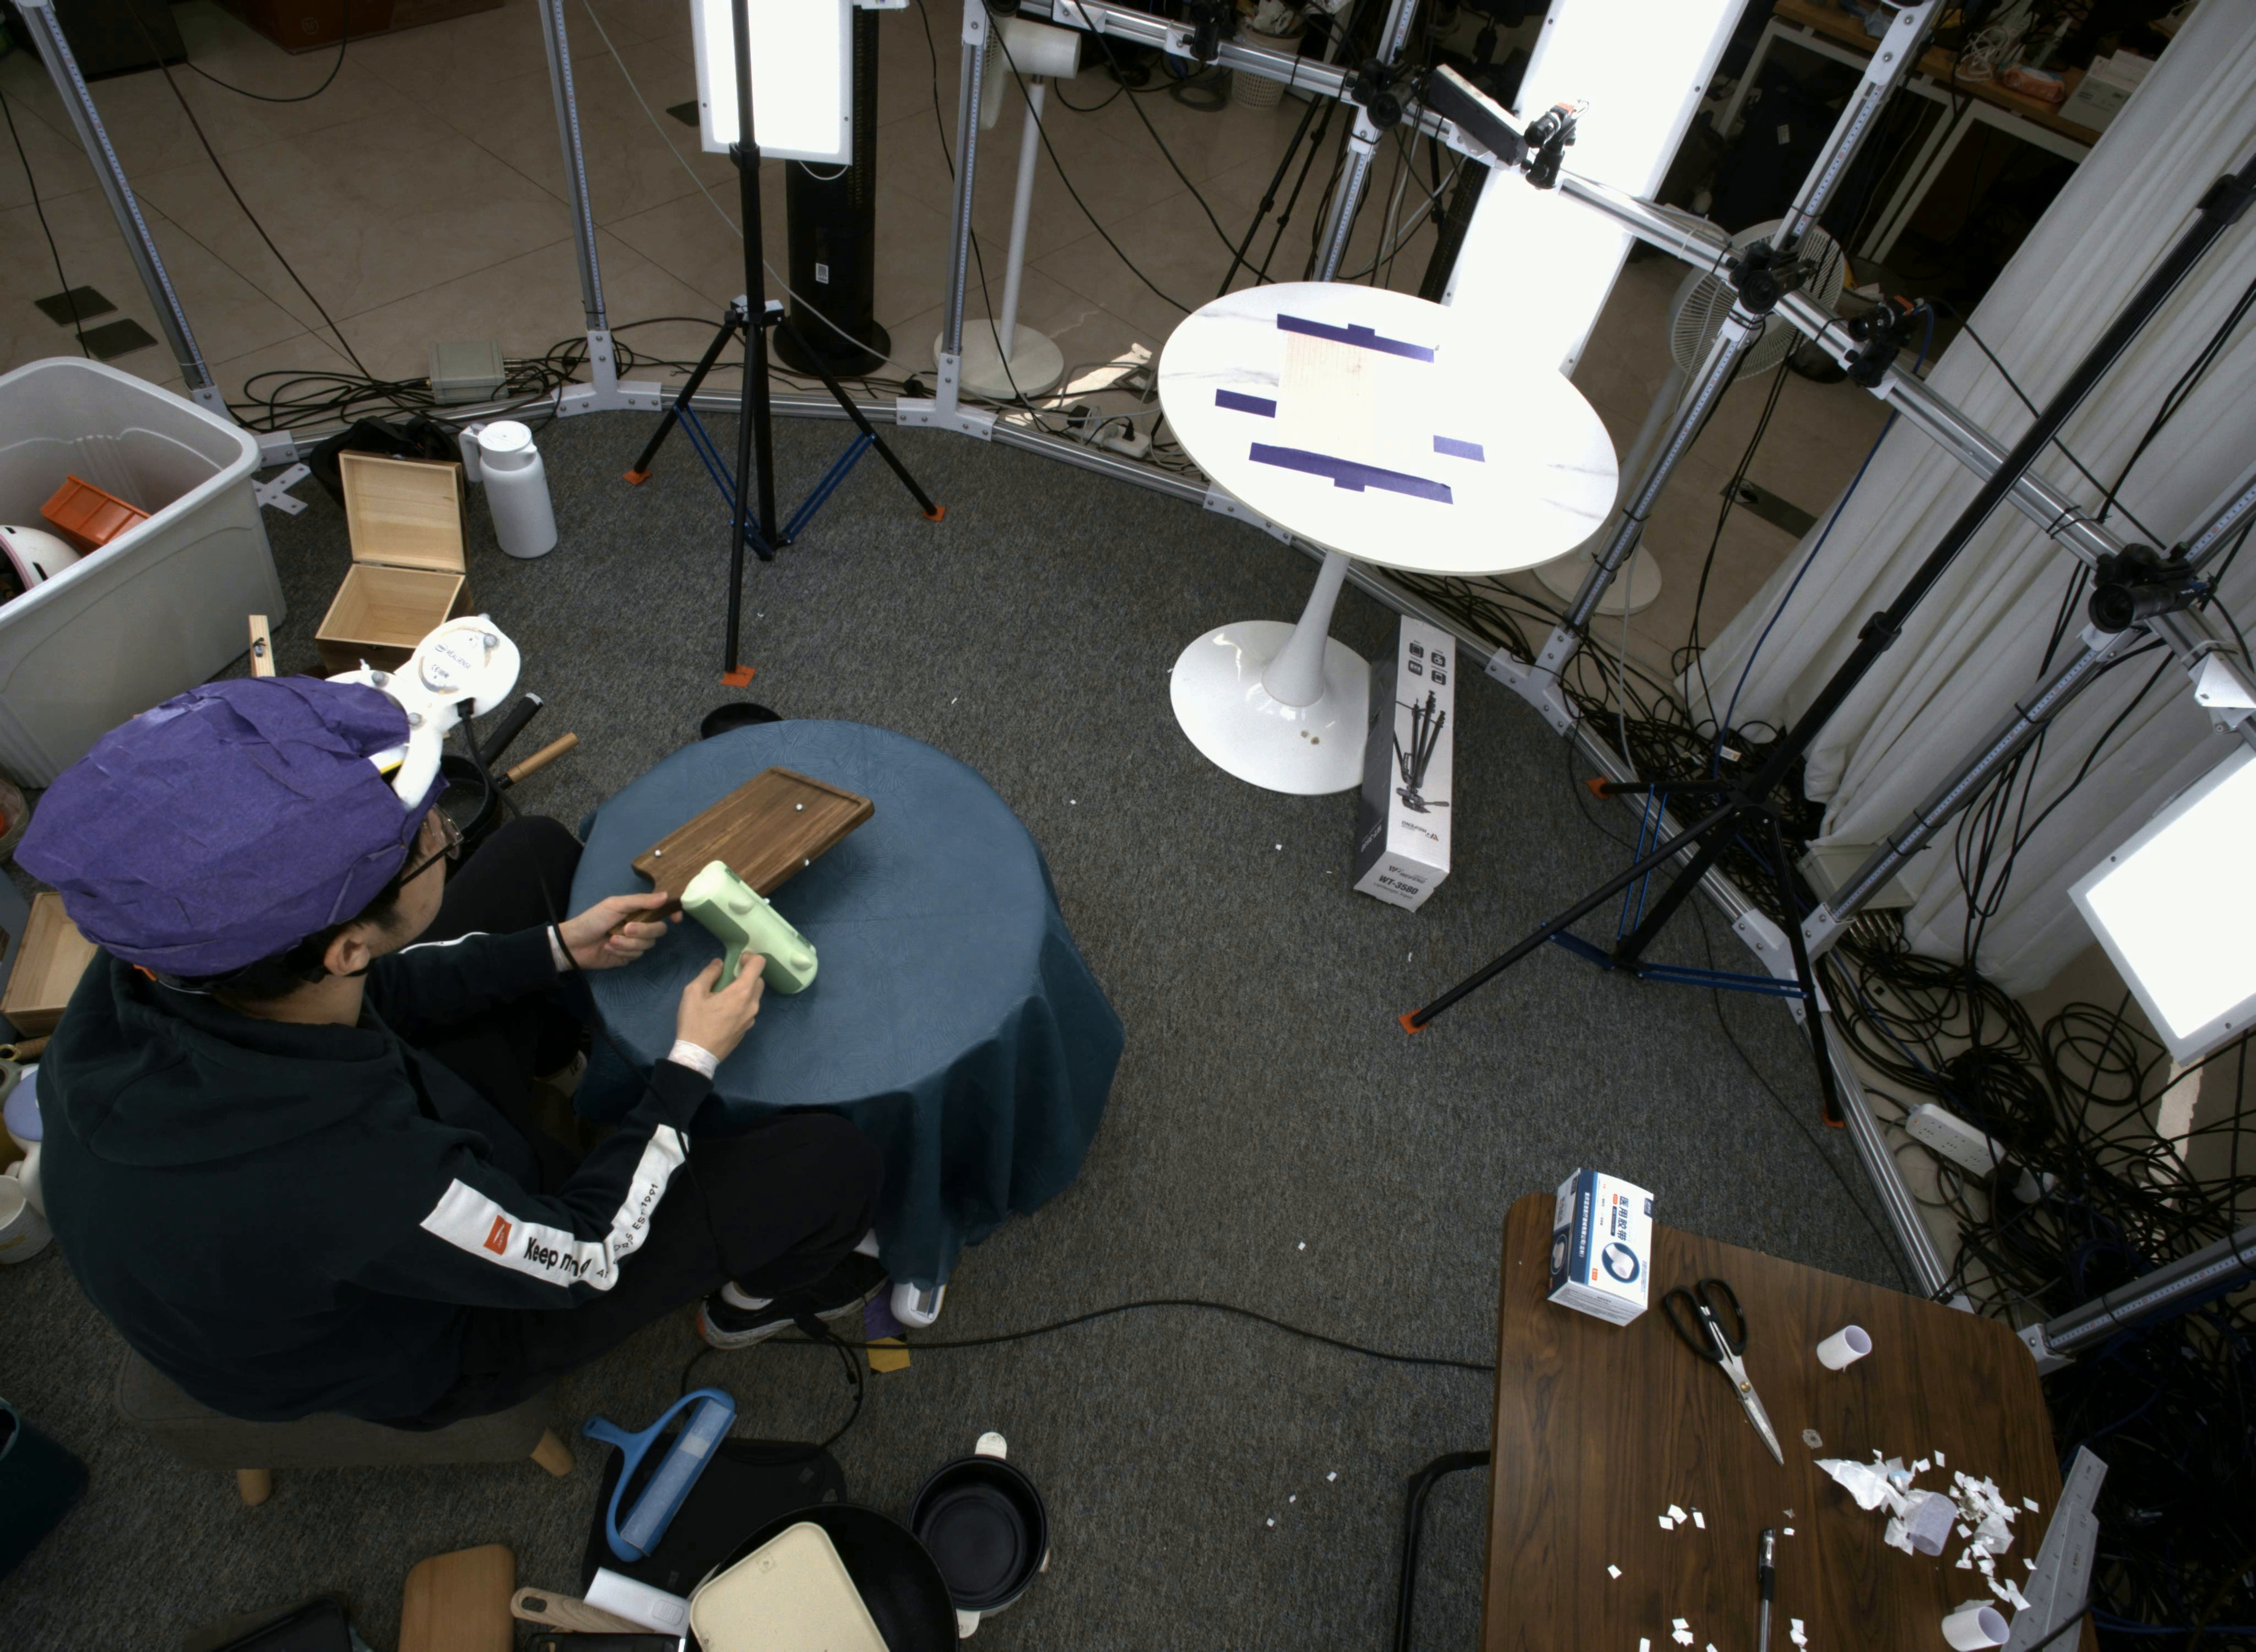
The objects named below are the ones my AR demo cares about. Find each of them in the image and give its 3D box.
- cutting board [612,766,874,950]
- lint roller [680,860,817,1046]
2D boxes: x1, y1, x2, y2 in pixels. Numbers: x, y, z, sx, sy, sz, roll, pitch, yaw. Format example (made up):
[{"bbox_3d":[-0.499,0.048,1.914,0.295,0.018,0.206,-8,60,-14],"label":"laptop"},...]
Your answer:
[{"bbox_3d":[-0.502,0.039,1.609,0.194,0.024,0.352,18,43,30],"label":"cutting board"},{"bbox_3d":[-0.442,0.164,1.480,0.080,0.206,0.180,-11,47,24],"label":"lint roller"}]
